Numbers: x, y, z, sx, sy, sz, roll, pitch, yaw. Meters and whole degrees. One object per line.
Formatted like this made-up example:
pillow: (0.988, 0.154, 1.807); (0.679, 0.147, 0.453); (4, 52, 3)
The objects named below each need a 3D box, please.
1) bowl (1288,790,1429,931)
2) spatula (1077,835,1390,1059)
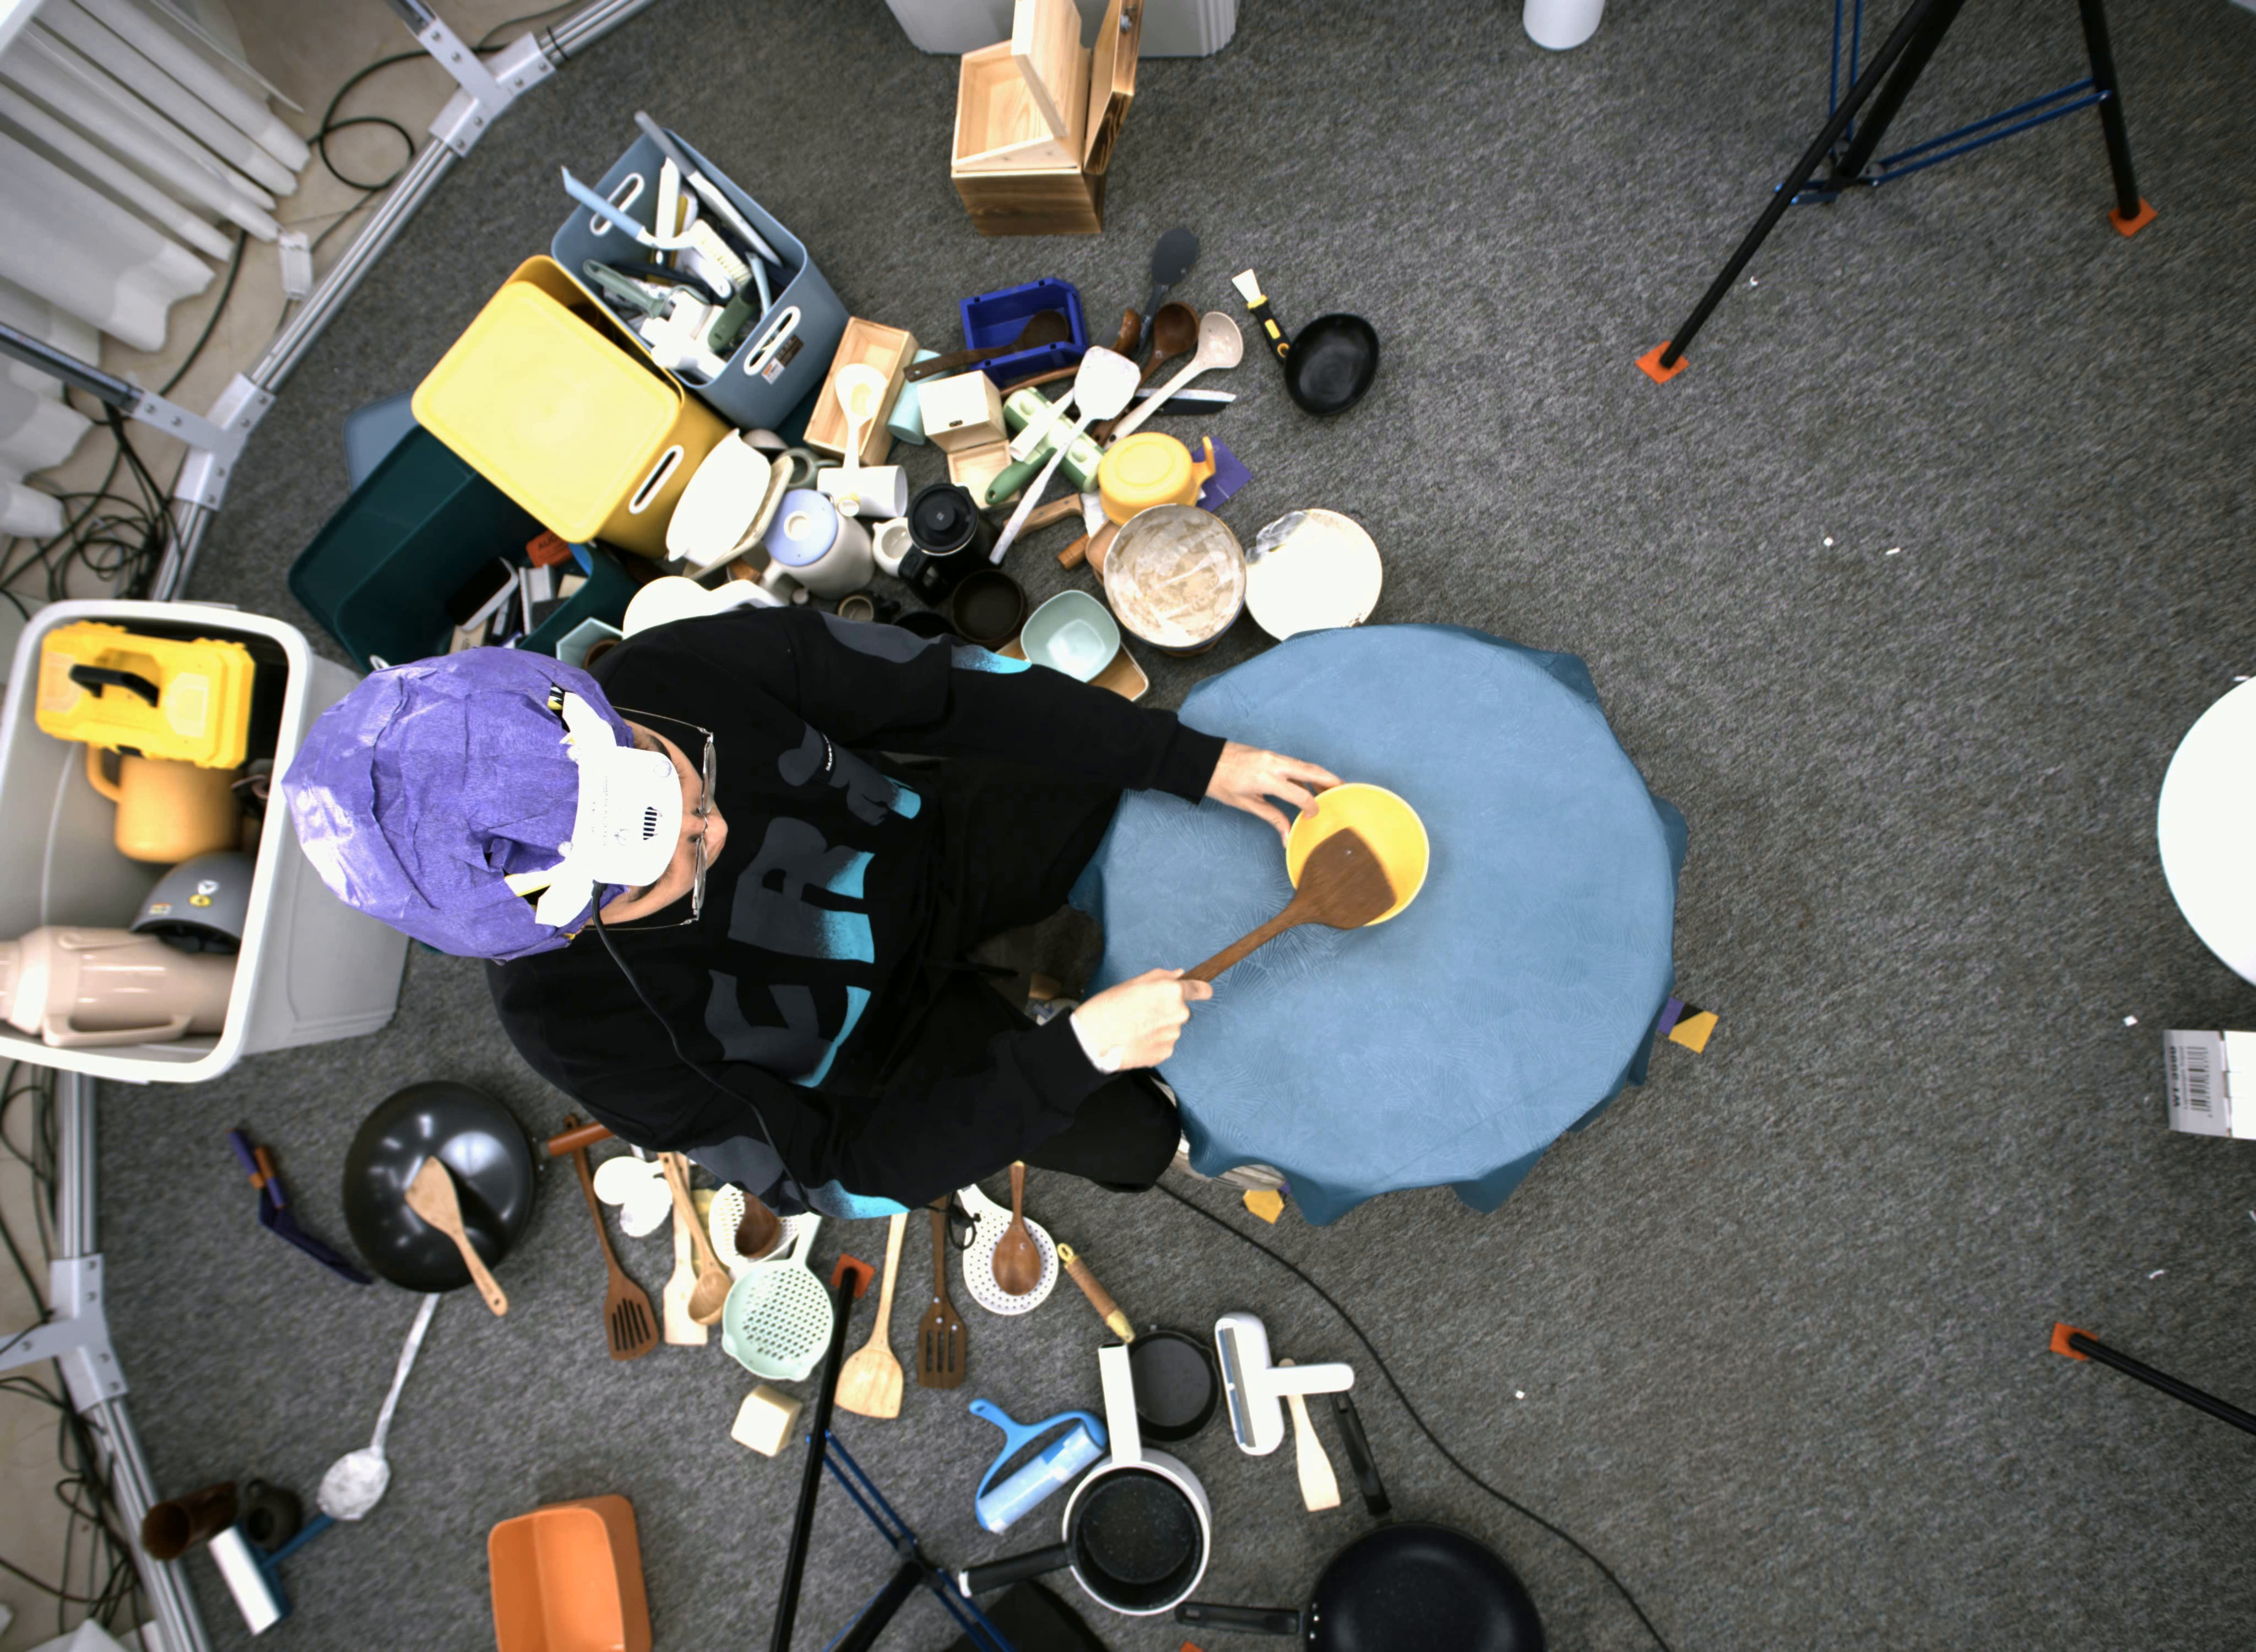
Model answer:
bowl: (0.240, 0.036, 1.442); (0.146, 0.060, 0.145); (-1, 87, 8)
spatula: (0.104, 0.119, 1.309); (0.380, 0.016, 0.096); (-28, 86, -30)
